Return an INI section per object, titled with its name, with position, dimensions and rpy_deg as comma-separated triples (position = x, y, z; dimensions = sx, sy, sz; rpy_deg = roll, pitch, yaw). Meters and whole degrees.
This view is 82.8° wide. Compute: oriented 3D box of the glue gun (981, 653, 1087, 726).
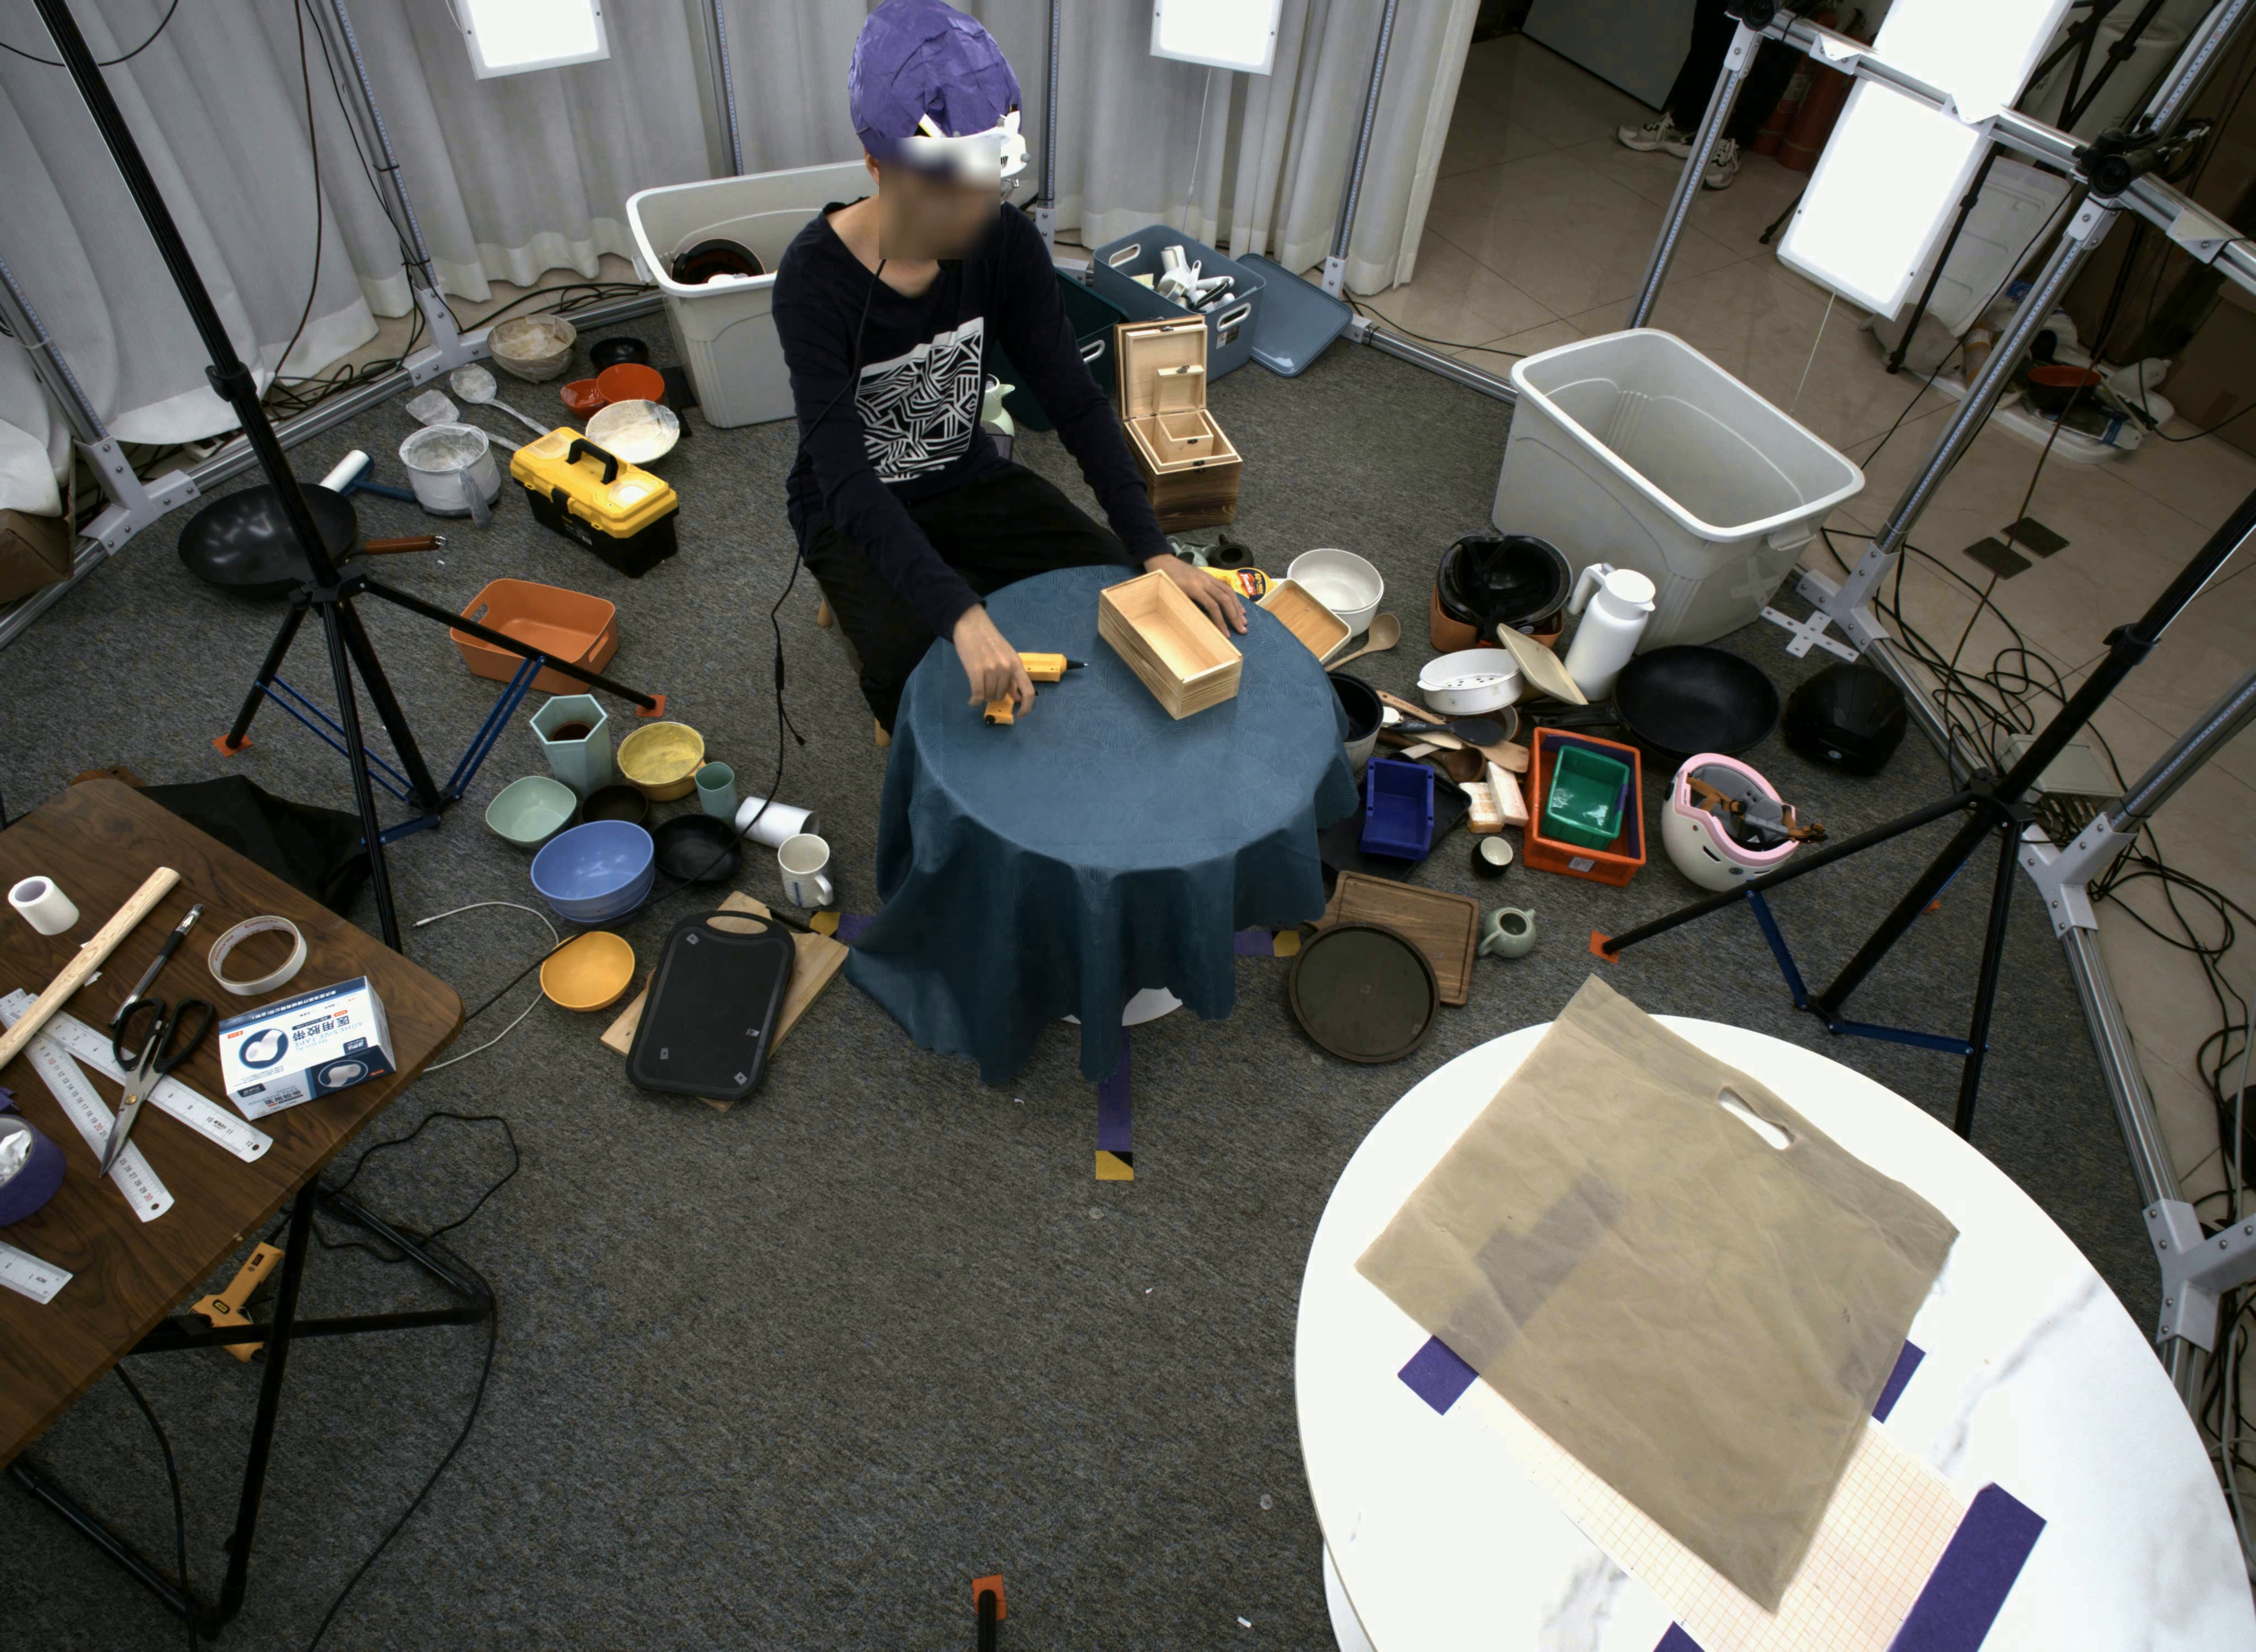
[glue gun]
position = -0.129, -0.195, 1.805
dimensions = 0.151, 0.030, 0.136
rpy_deg = -3, 51, -6

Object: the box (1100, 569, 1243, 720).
[box]
position = 0.059, -0.264, 1.842
dimensions = 0.108, 0.078, 0.216
rpy_deg = -23, 55, -22
